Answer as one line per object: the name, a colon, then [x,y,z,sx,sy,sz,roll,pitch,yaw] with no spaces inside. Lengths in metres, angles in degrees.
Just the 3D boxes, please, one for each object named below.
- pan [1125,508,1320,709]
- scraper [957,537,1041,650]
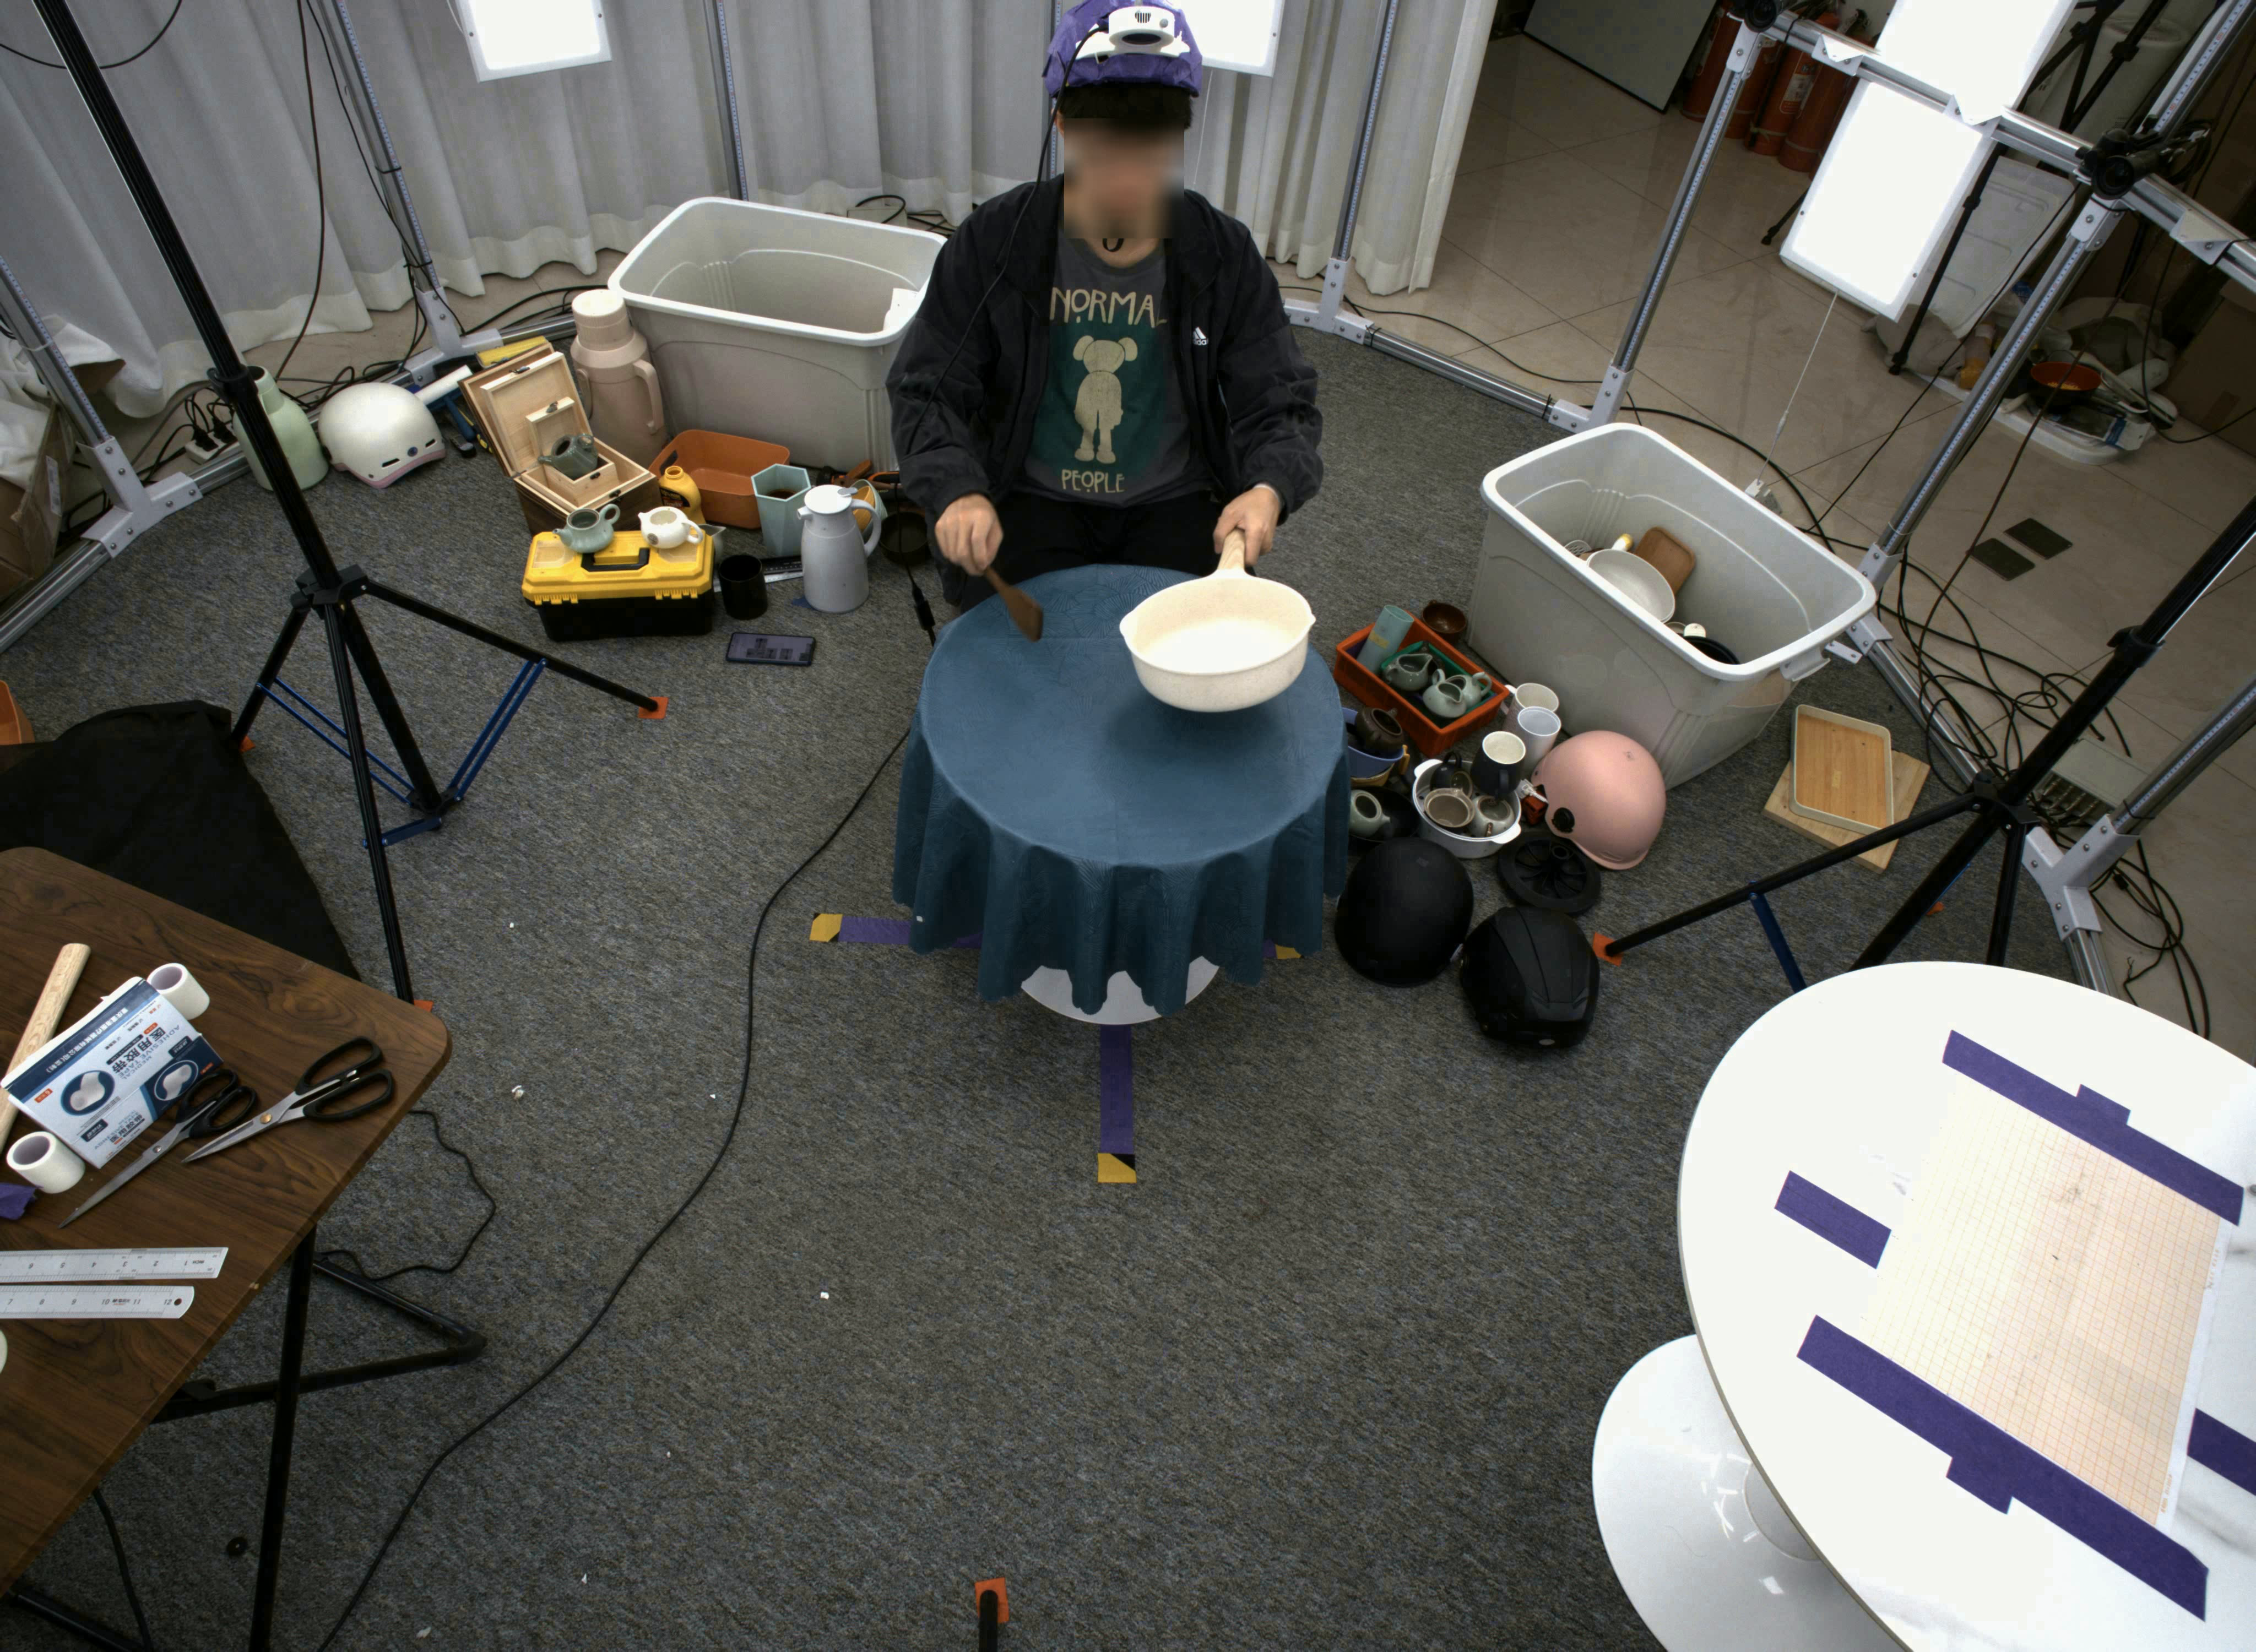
pan: [0.145,-0.307,1.807,0.264,0.099,0.444,-1,37,14]
scraper: [-0.185,-0.336,1.821,0.011,0.074,0.215,-25,61,-26]
